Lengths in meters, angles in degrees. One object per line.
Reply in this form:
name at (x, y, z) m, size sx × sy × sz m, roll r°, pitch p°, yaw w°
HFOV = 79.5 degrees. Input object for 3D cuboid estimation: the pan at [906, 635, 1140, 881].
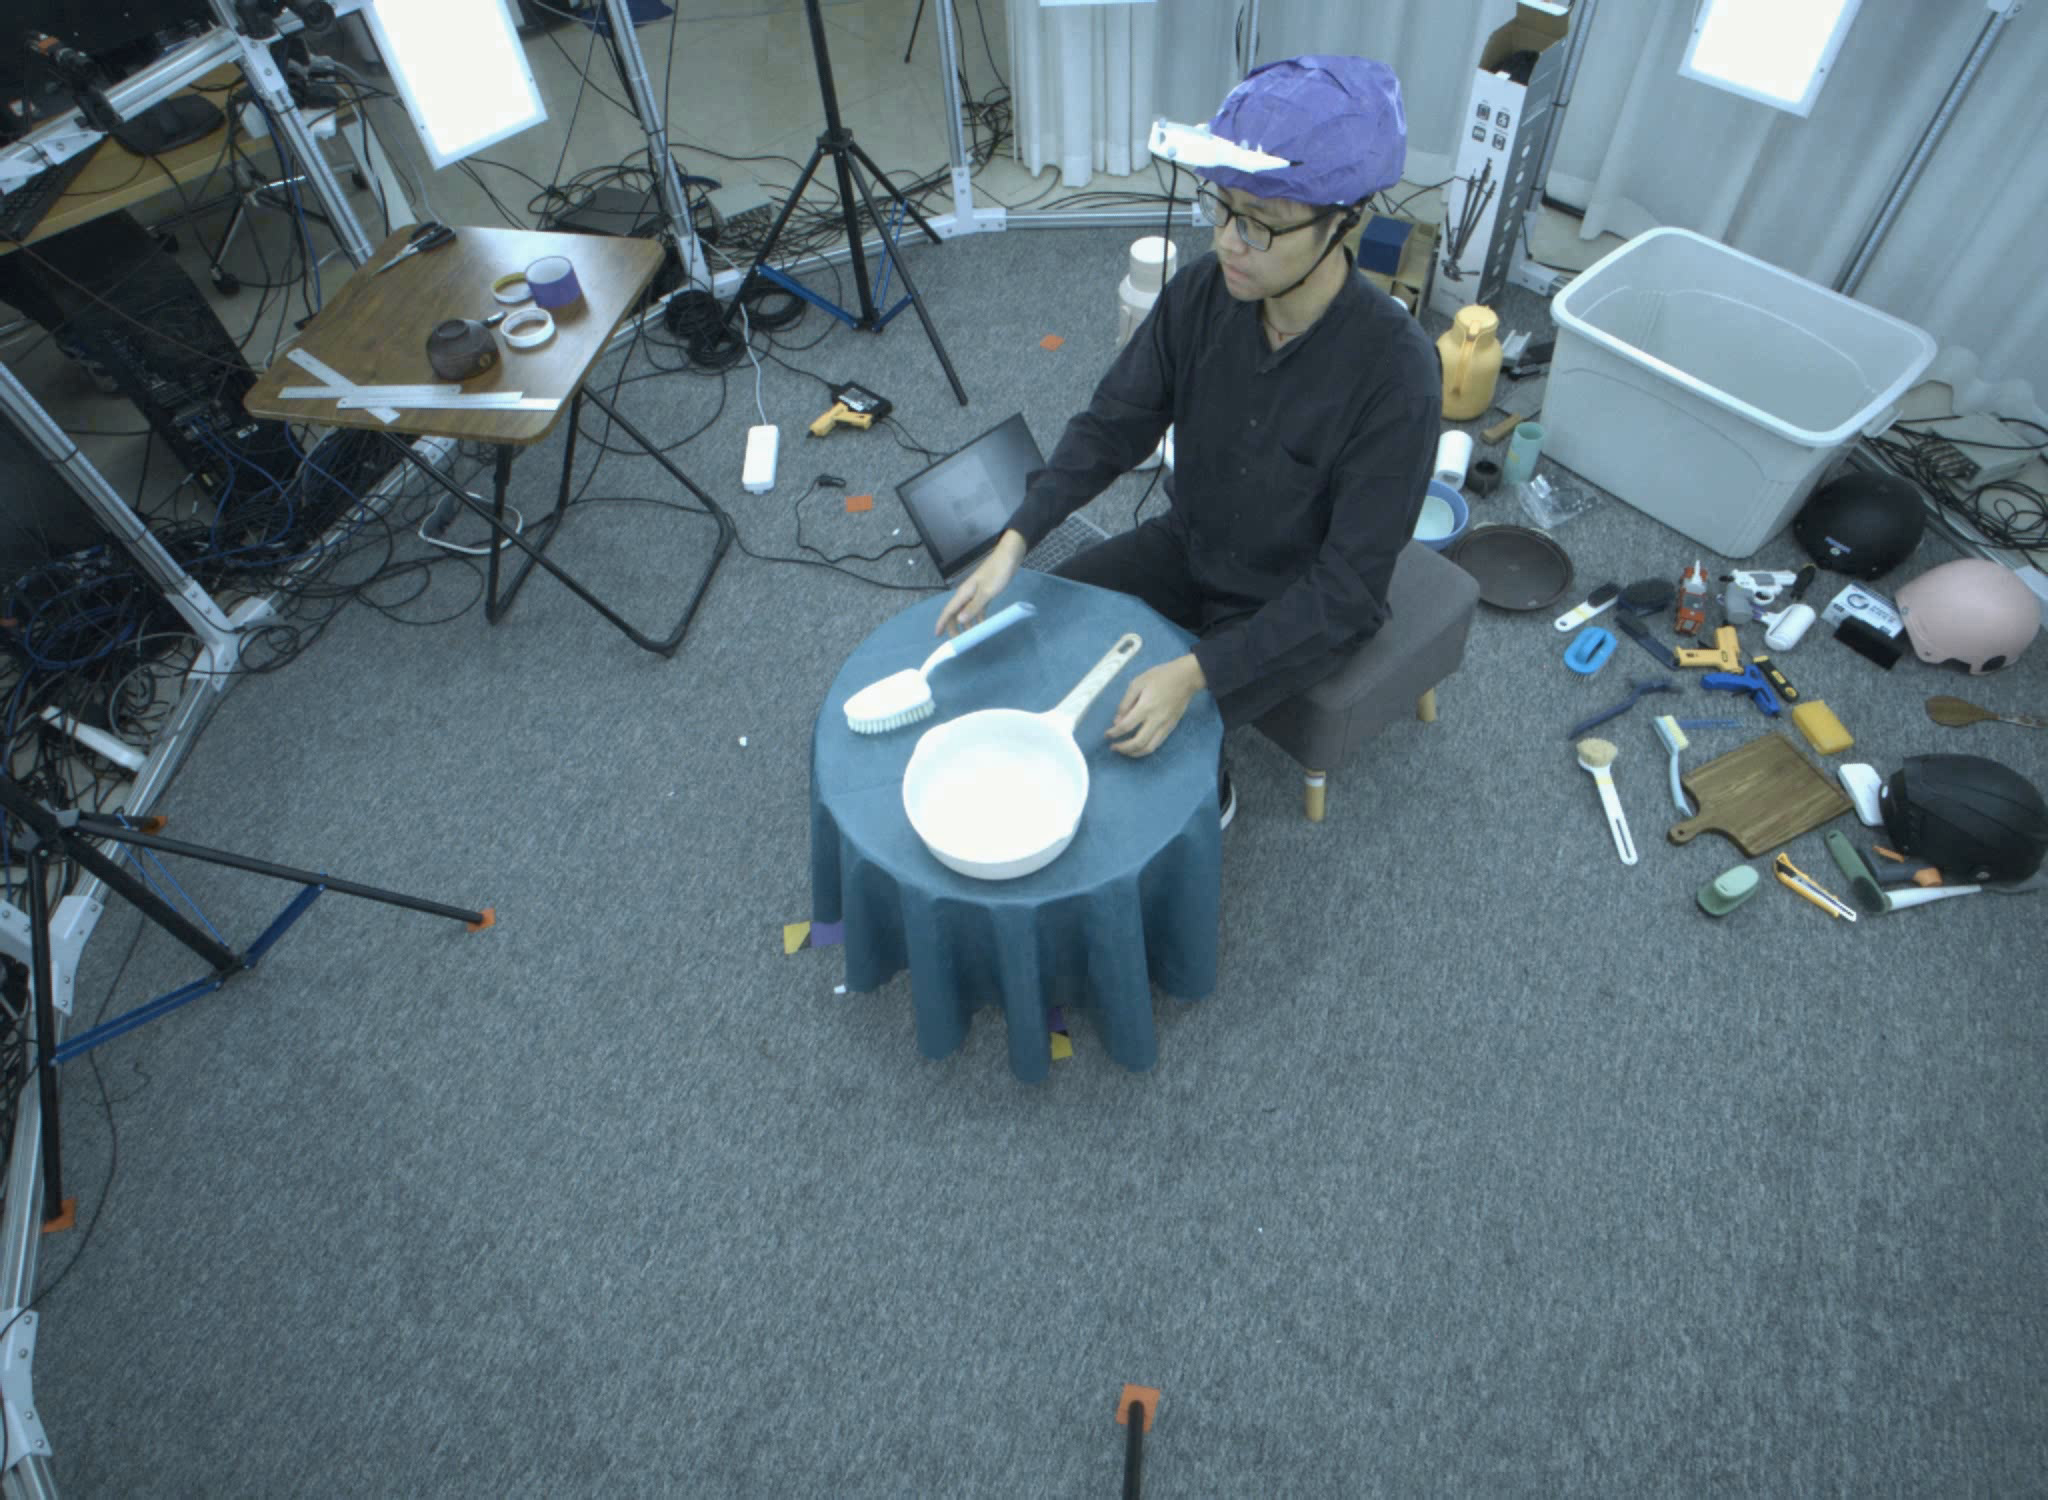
pan at (0.027, 0.005, 1.722) m, size 0.259 × 0.103 × 0.437 m, roll 33°, pitch 62°, yaw 24°

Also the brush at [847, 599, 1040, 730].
brush at (-0.111, -0.117, 1.823) m, size 0.326 × 0.084 × 0.083 m, roll -30°, pitch 95°, yaw -4°
